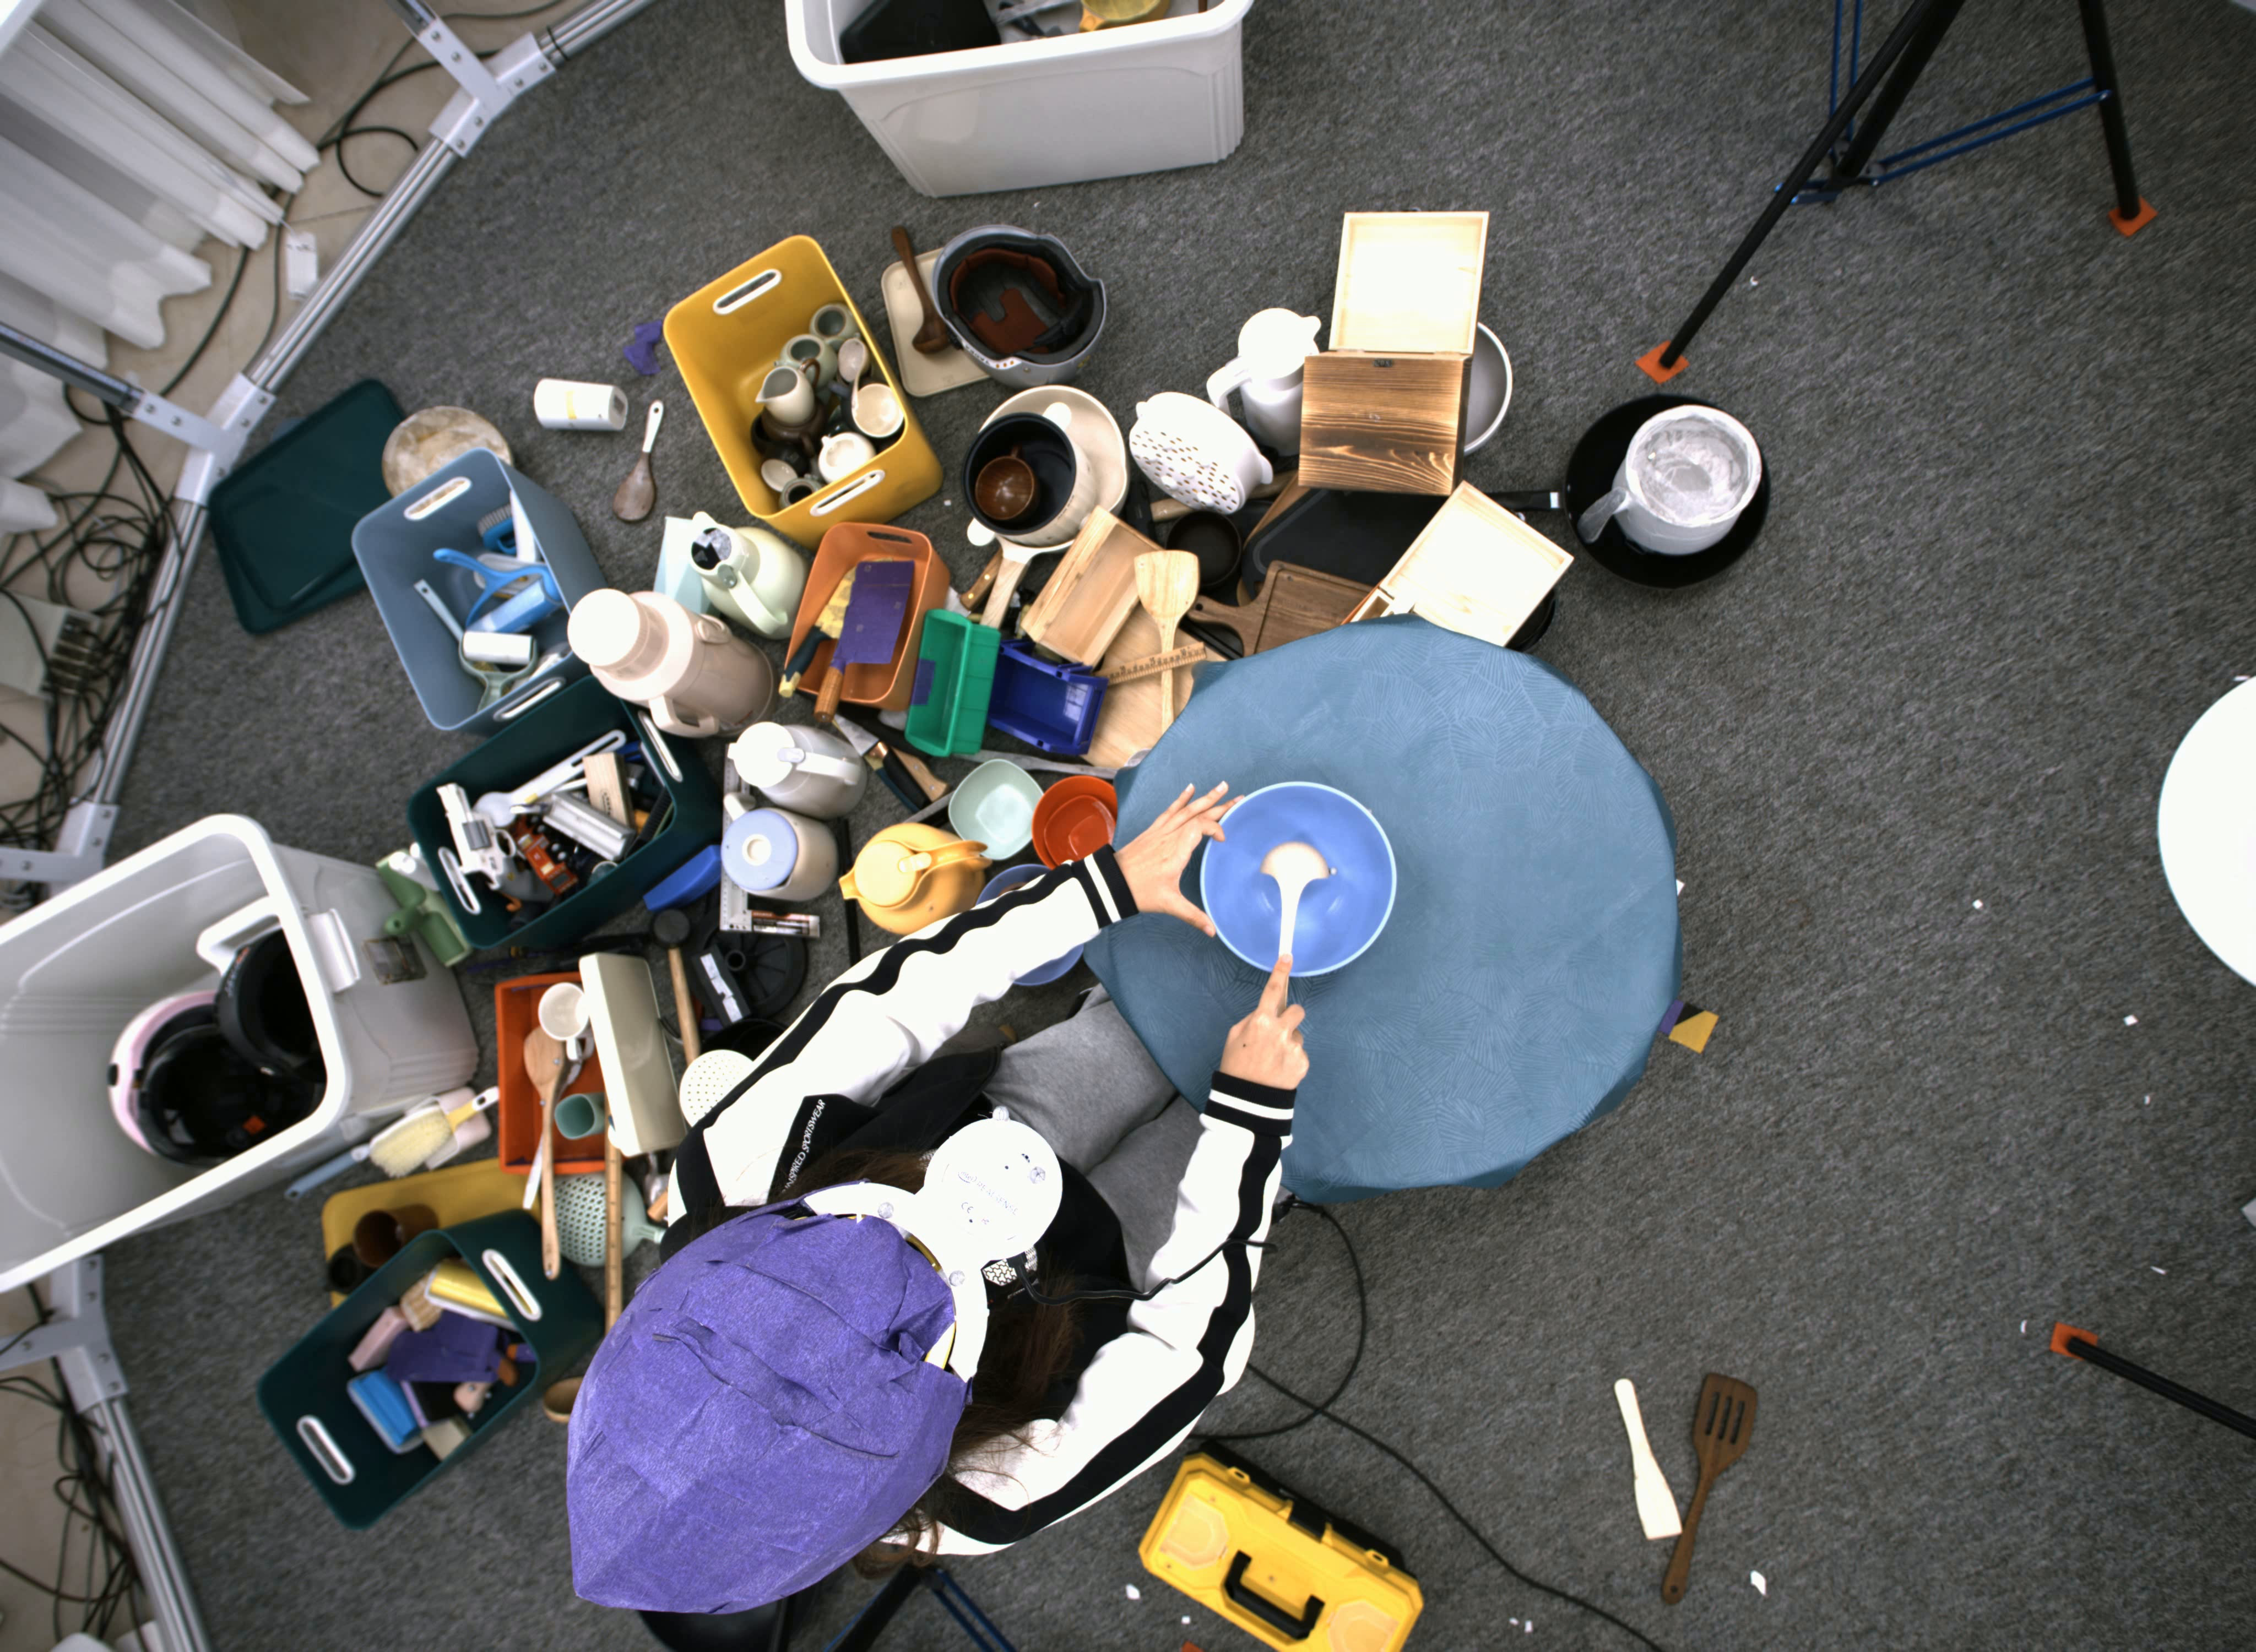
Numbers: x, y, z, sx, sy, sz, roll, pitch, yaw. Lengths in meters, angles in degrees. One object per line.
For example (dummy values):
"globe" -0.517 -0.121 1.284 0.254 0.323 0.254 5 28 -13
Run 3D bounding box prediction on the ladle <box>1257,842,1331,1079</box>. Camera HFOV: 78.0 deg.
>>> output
"ladle" 0.156 0.138 1.395 0.072 0.074 0.250 7 70 9

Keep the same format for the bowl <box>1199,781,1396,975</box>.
"bowl" 0.176 0.057 1.429 0.197 0.096 0.195 -1 84 9
